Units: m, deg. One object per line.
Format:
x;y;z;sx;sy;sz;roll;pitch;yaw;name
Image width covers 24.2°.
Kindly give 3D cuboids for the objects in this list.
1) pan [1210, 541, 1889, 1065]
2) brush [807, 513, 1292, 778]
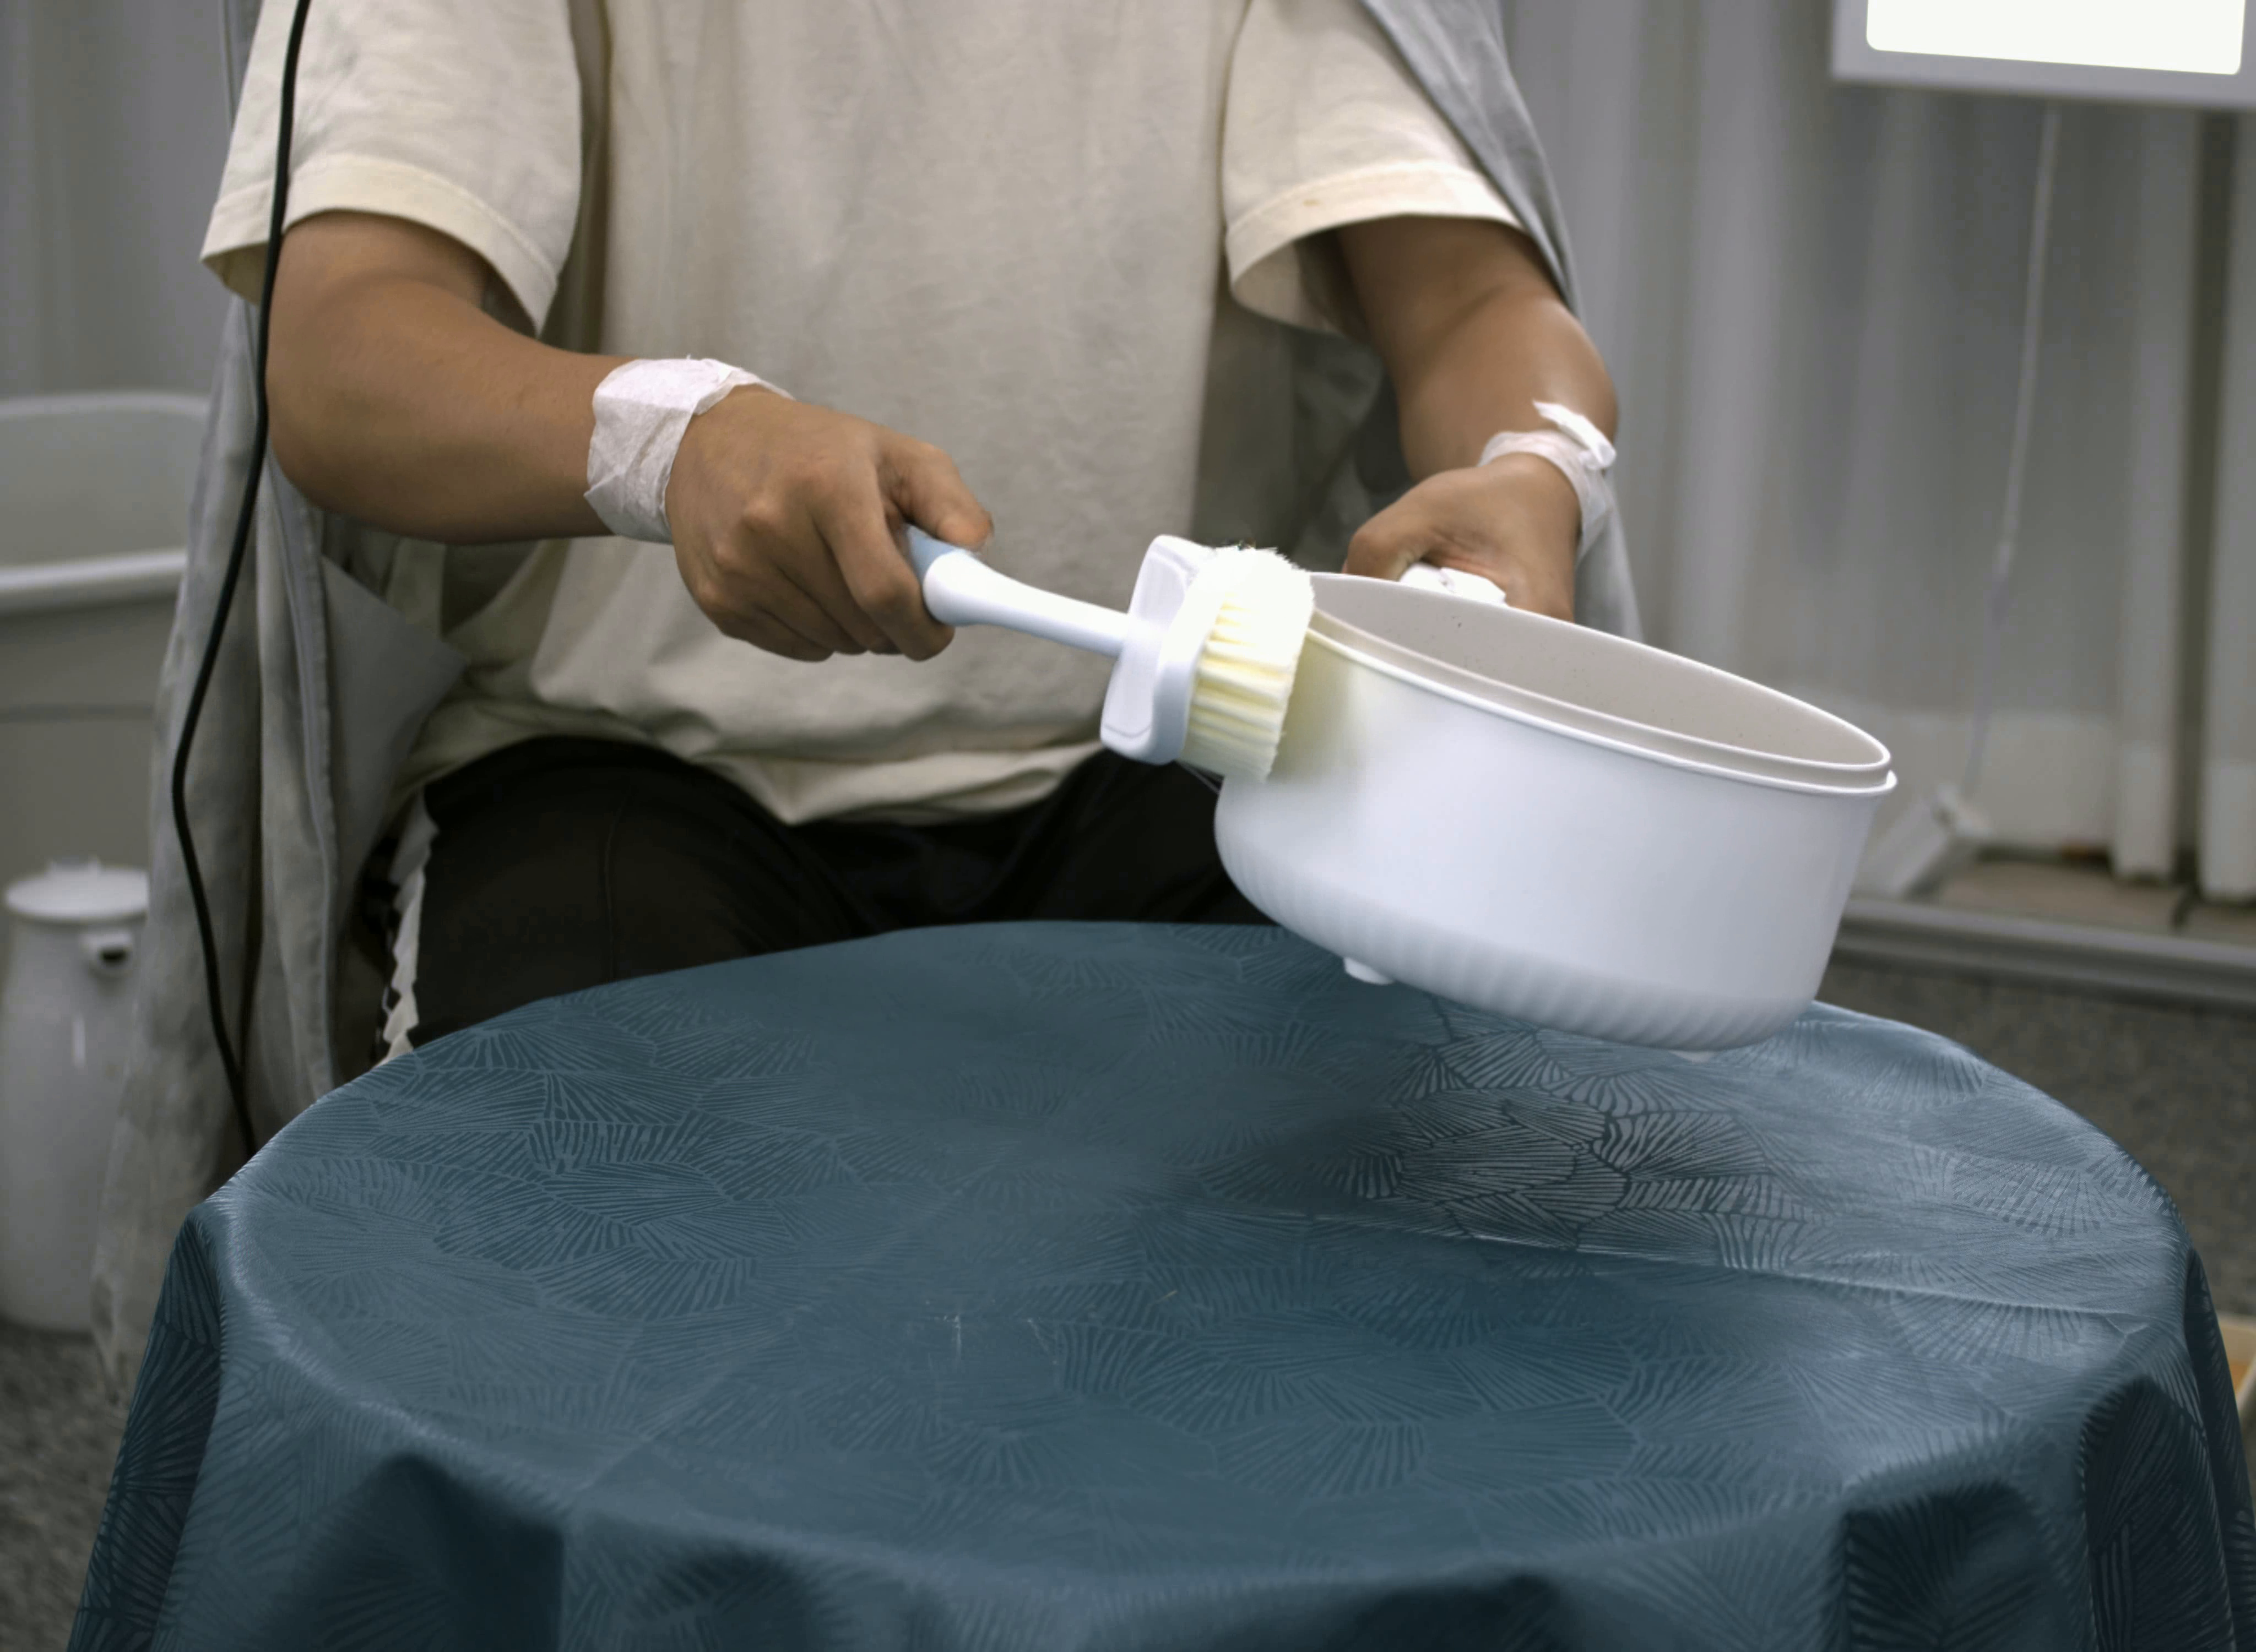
0.114;-0.017;1.695;0.201;0.102;0.352;14;10;-12;pan
-0.011;-0.069;1.663;0.083;0.085;0.322;-41;20;-10;brush
